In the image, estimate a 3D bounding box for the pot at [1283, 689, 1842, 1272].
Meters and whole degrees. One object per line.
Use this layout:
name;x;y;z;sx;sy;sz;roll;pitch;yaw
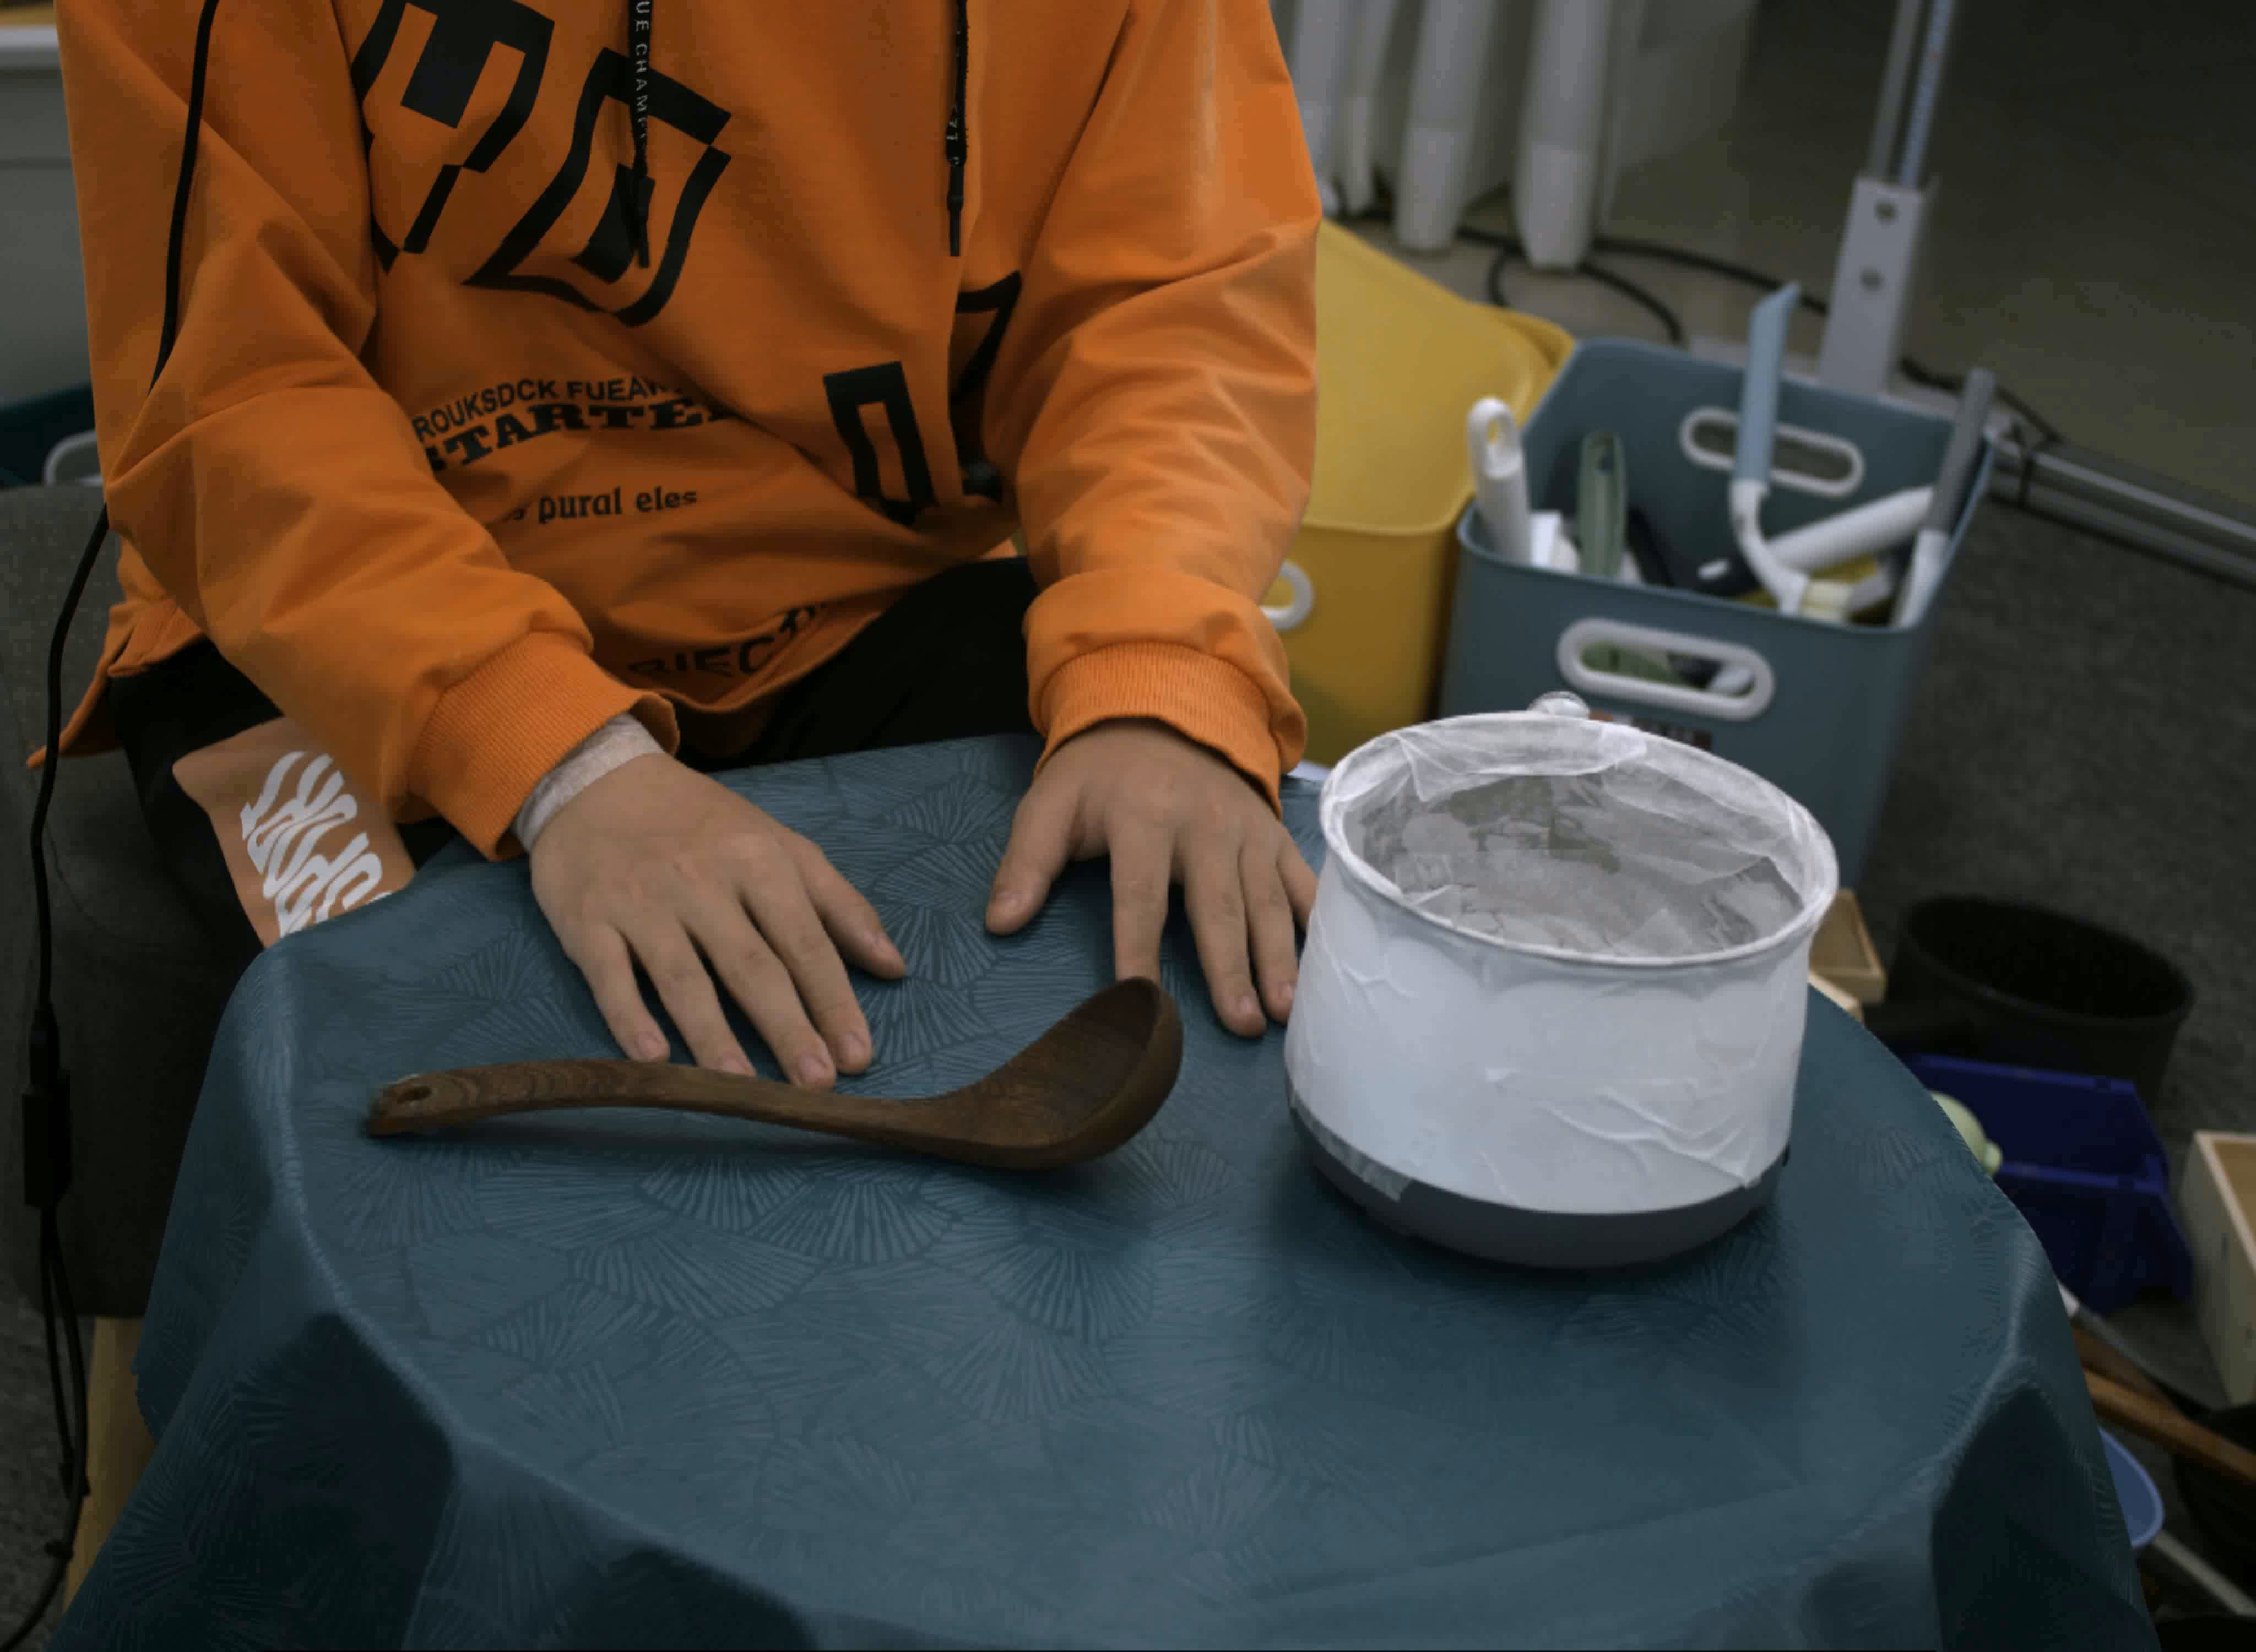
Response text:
pot;0.144;0.045;1.837;0.178;0.136;0.235;6;27;-3

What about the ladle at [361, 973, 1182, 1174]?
ladle;-0.119;0.077;1.790;0.273;0.071;0.076;4;24;-7
